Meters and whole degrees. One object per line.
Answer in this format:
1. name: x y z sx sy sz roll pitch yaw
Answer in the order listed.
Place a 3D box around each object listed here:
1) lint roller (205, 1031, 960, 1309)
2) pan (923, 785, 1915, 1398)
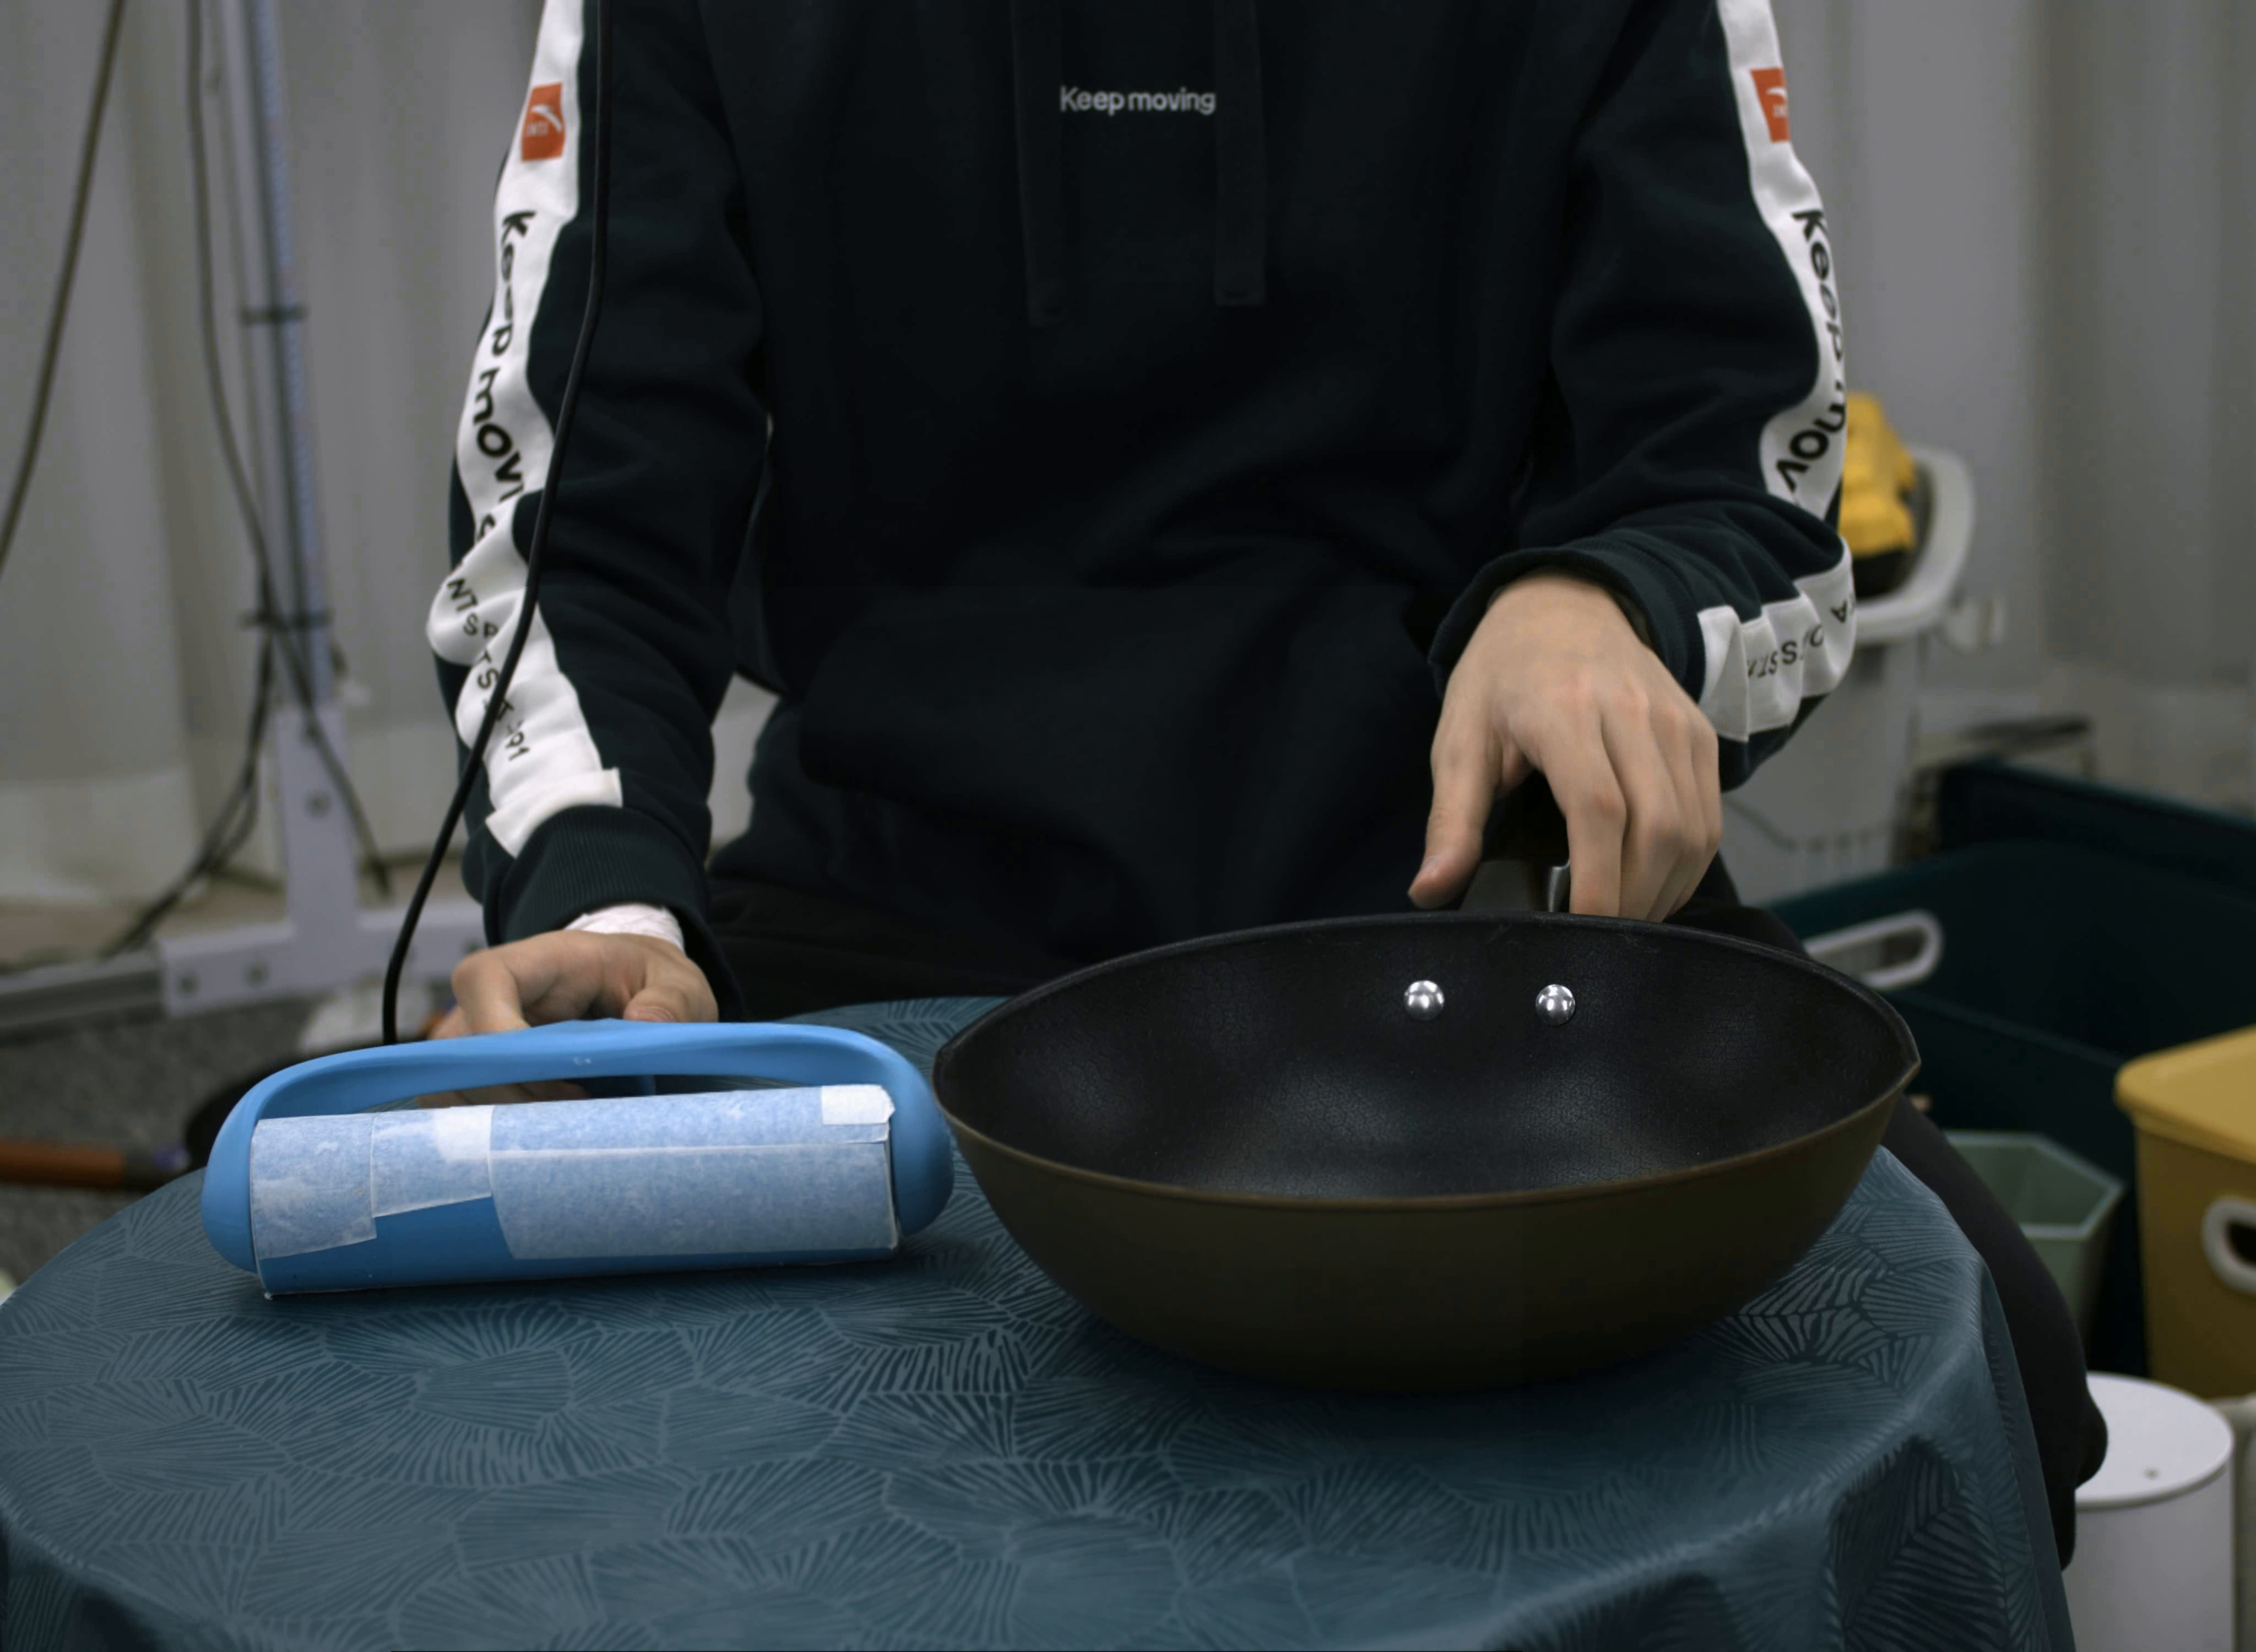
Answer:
1. lint roller: -0.170 0.095 1.713 0.228 0.067 0.181 -6 16 -4
2. pan: 0.104 0.079 1.672 0.288 0.086 0.465 1 14 13
